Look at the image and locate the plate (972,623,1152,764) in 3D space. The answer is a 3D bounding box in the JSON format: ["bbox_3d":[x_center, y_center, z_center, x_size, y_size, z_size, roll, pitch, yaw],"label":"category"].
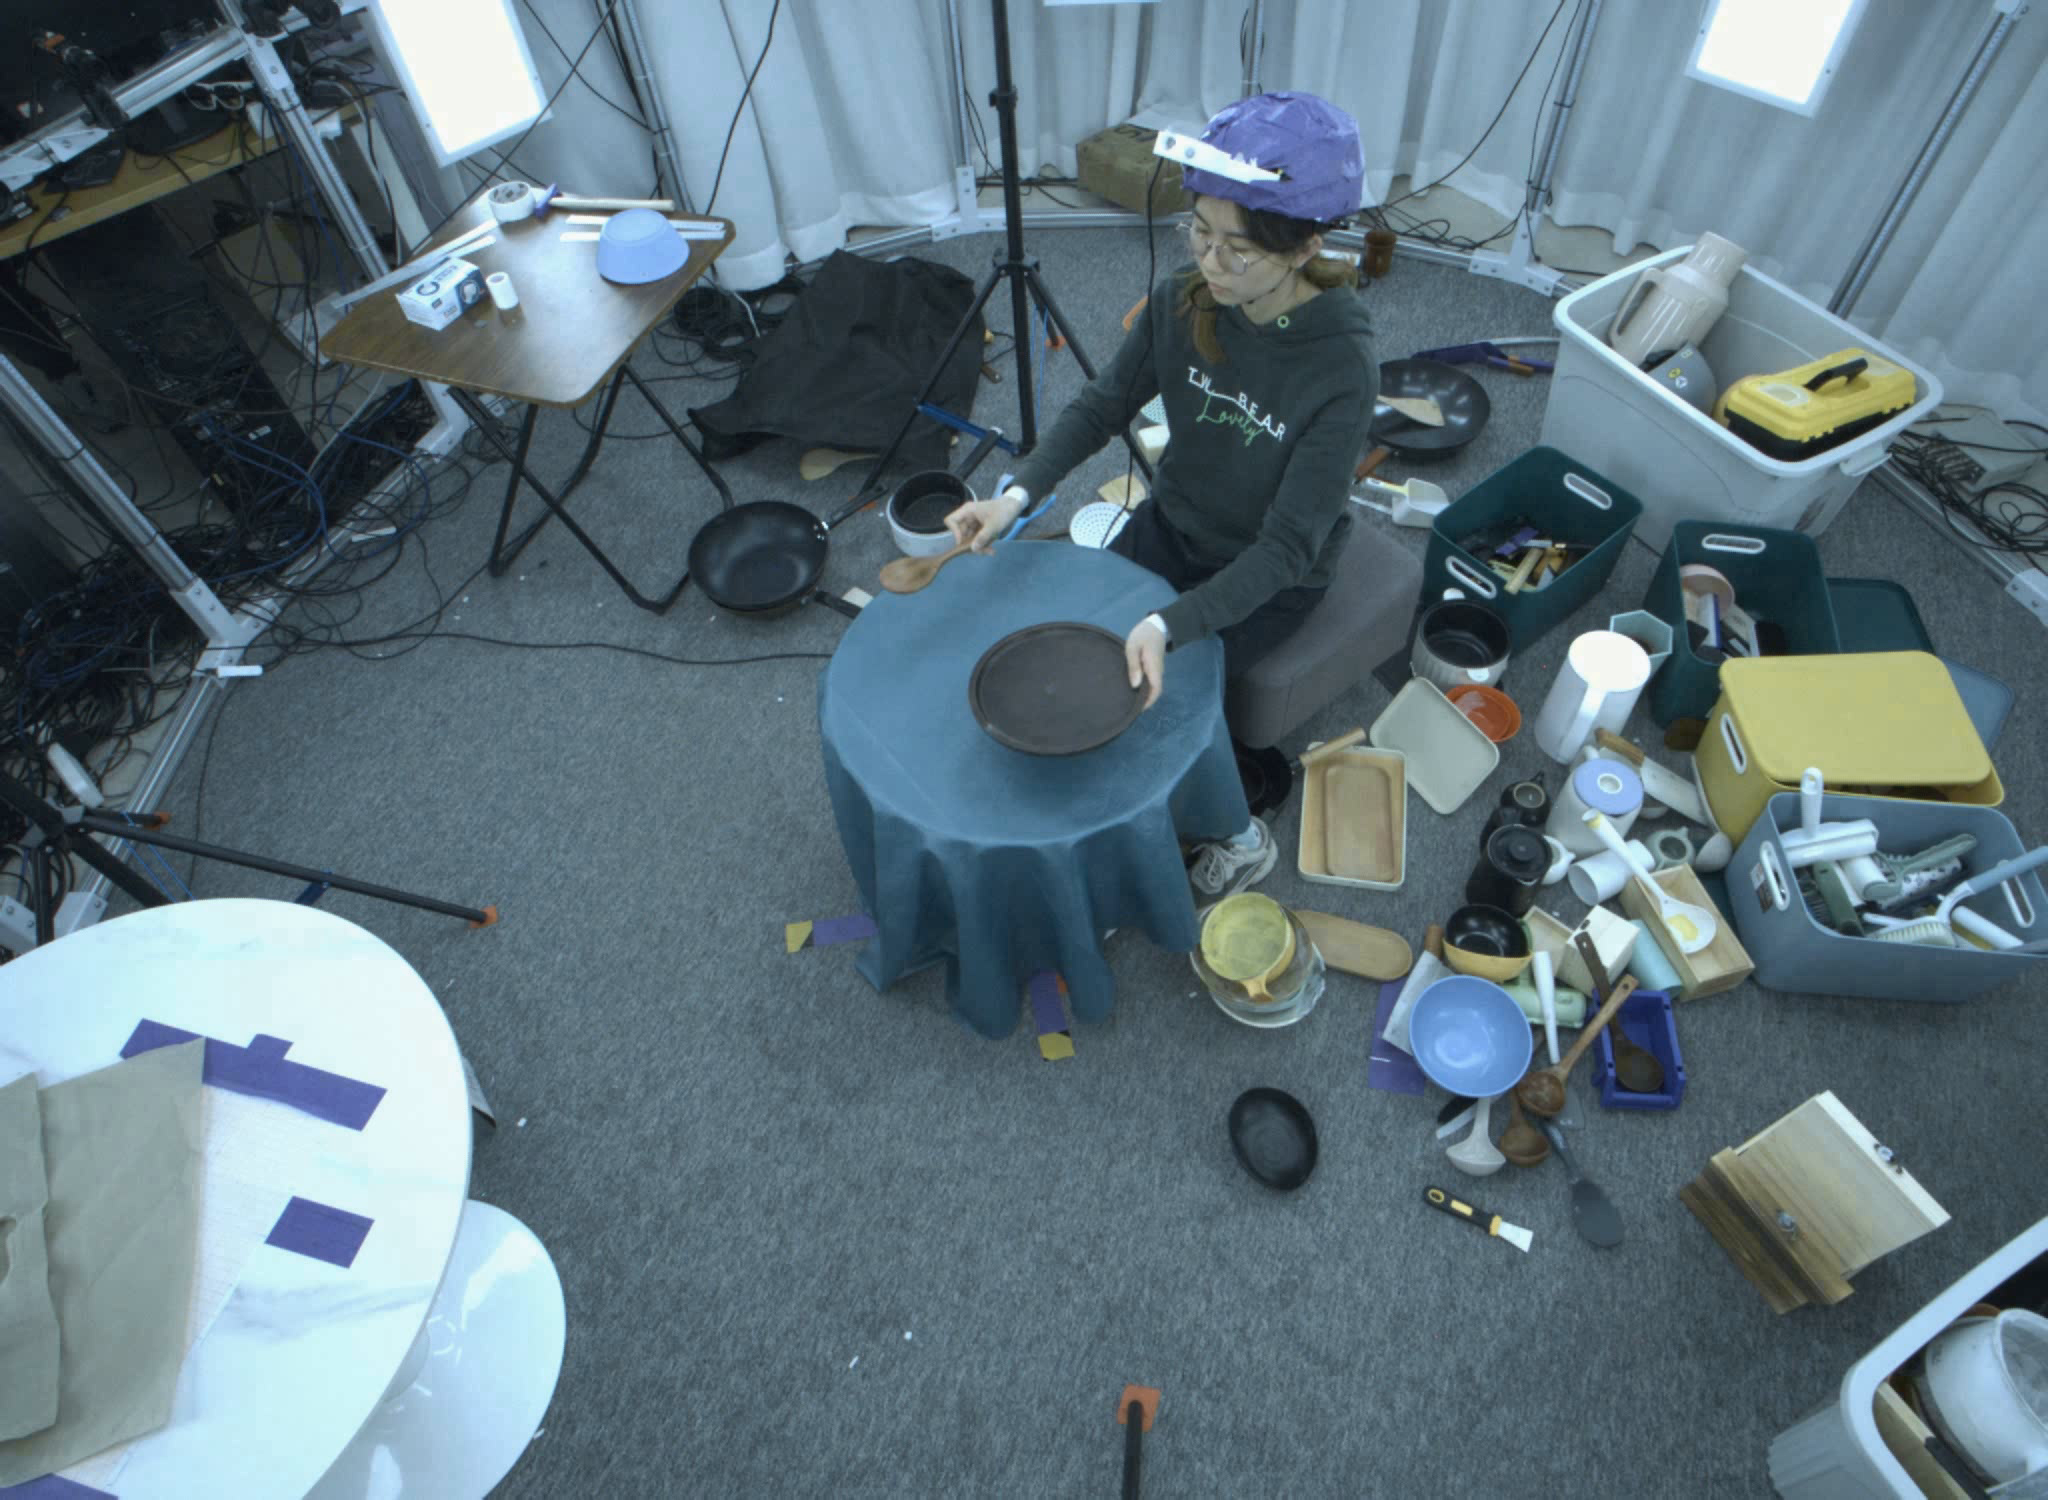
[{"bbox_3d":[0.053,-0.080,1.728,0.254,0.029,0.252,-1,52,3],"label":"plate"}]

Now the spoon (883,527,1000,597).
[{"bbox_3d":[-0.122,-0.288,1.867,0.218,0.017,0.074,-34,59,-27],"label":"spoon"}]
